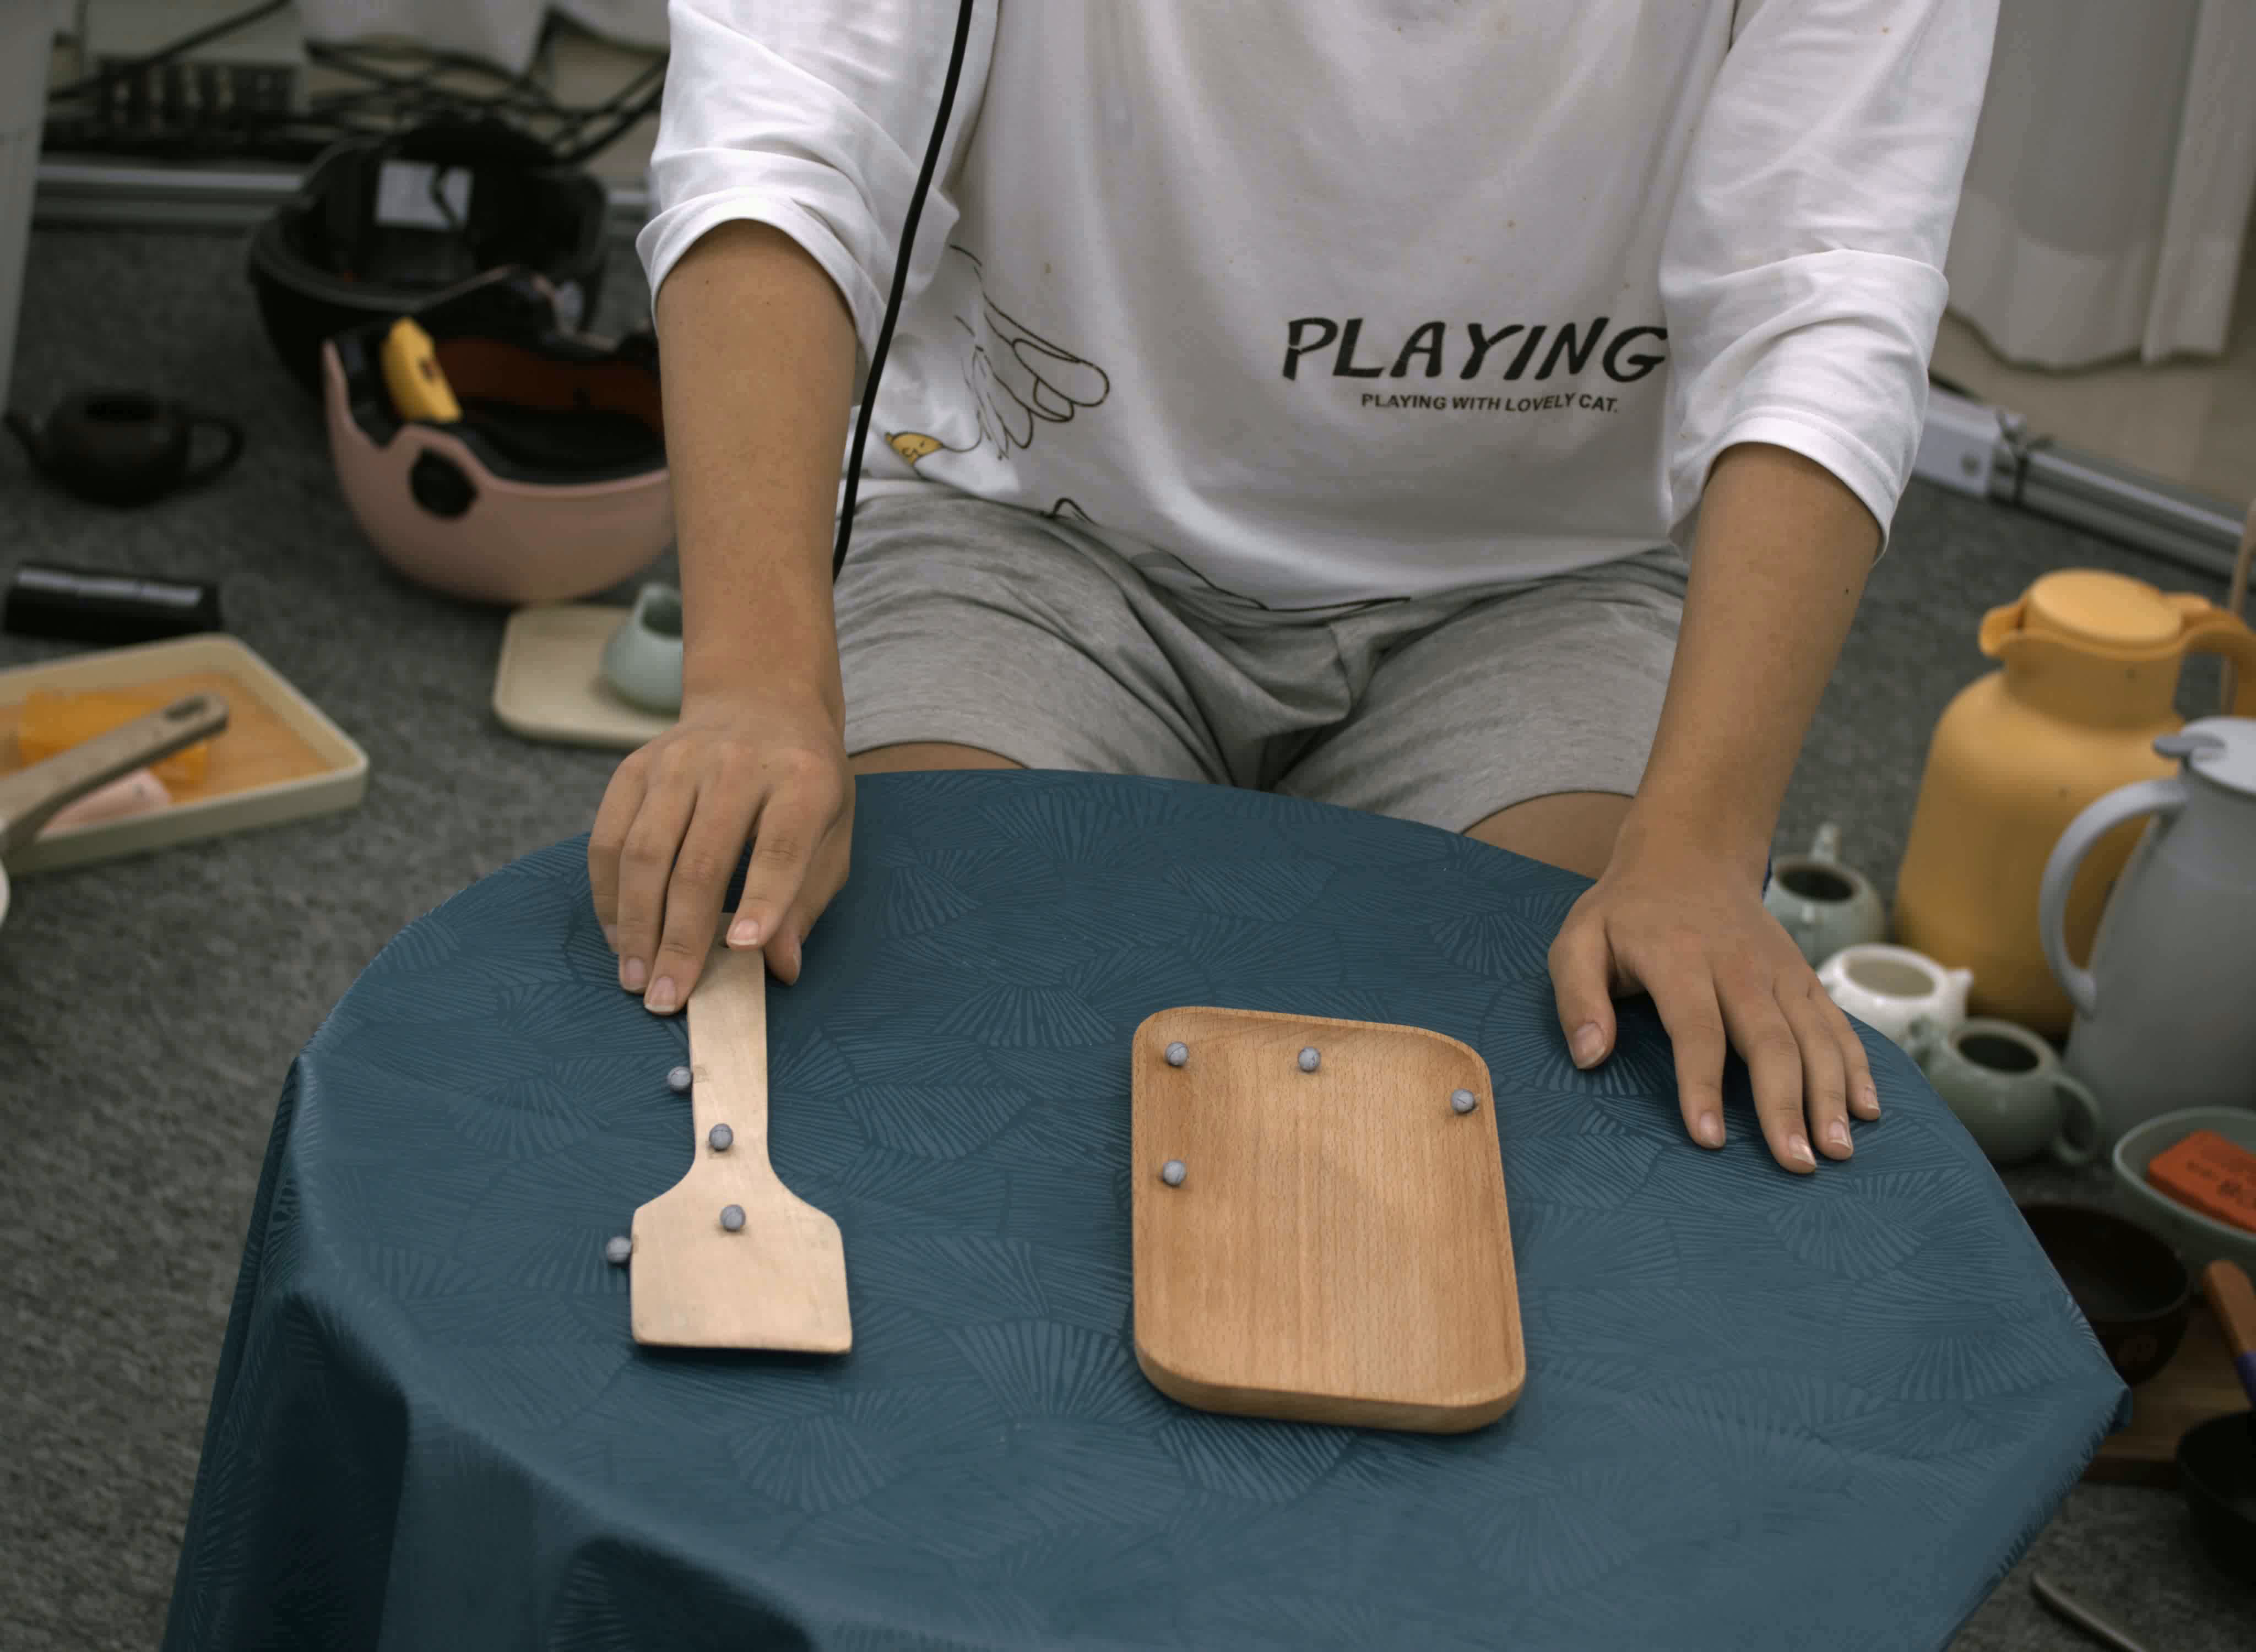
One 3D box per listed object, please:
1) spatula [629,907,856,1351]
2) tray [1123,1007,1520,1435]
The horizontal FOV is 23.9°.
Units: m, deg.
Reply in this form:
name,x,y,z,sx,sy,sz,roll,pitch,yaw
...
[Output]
name,x,y,z,sx,sy,sz,roll,pitch,yaw
spatula,-0.135,0.099,1.812,0.072,0.010,0.295,2,27,-7
tray,0.063,0.130,1.790,0.130,0.023,0.252,4,27,0
